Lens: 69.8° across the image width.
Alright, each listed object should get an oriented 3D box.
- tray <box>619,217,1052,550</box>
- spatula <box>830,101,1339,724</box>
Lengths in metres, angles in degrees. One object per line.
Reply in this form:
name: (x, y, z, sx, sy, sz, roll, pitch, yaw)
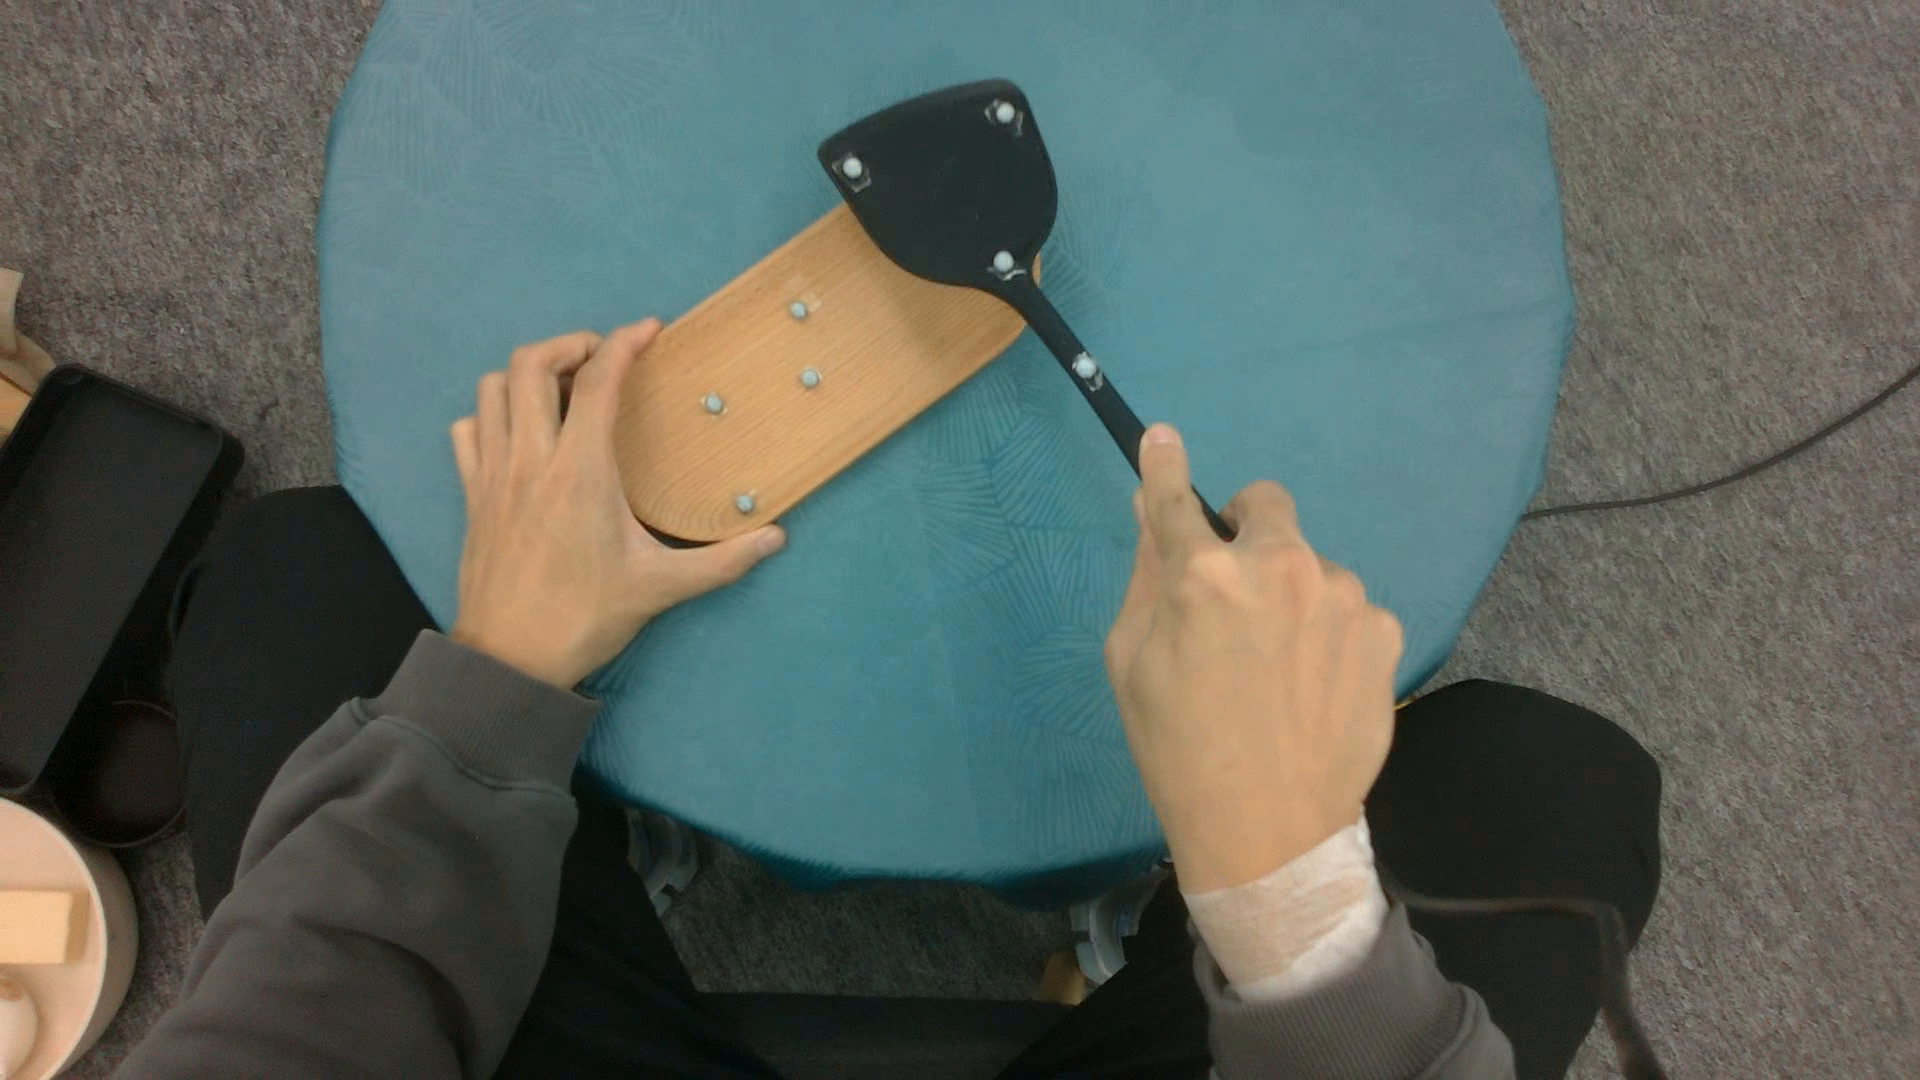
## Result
tray: (-0.058, -0.084, 0.659, 0.231, 0.020, 0.102, -37, 86, -8)
spatula: (0.053, -0.062, 0.546, 0.100, 0.040, 0.327, -24, 56, -11)
